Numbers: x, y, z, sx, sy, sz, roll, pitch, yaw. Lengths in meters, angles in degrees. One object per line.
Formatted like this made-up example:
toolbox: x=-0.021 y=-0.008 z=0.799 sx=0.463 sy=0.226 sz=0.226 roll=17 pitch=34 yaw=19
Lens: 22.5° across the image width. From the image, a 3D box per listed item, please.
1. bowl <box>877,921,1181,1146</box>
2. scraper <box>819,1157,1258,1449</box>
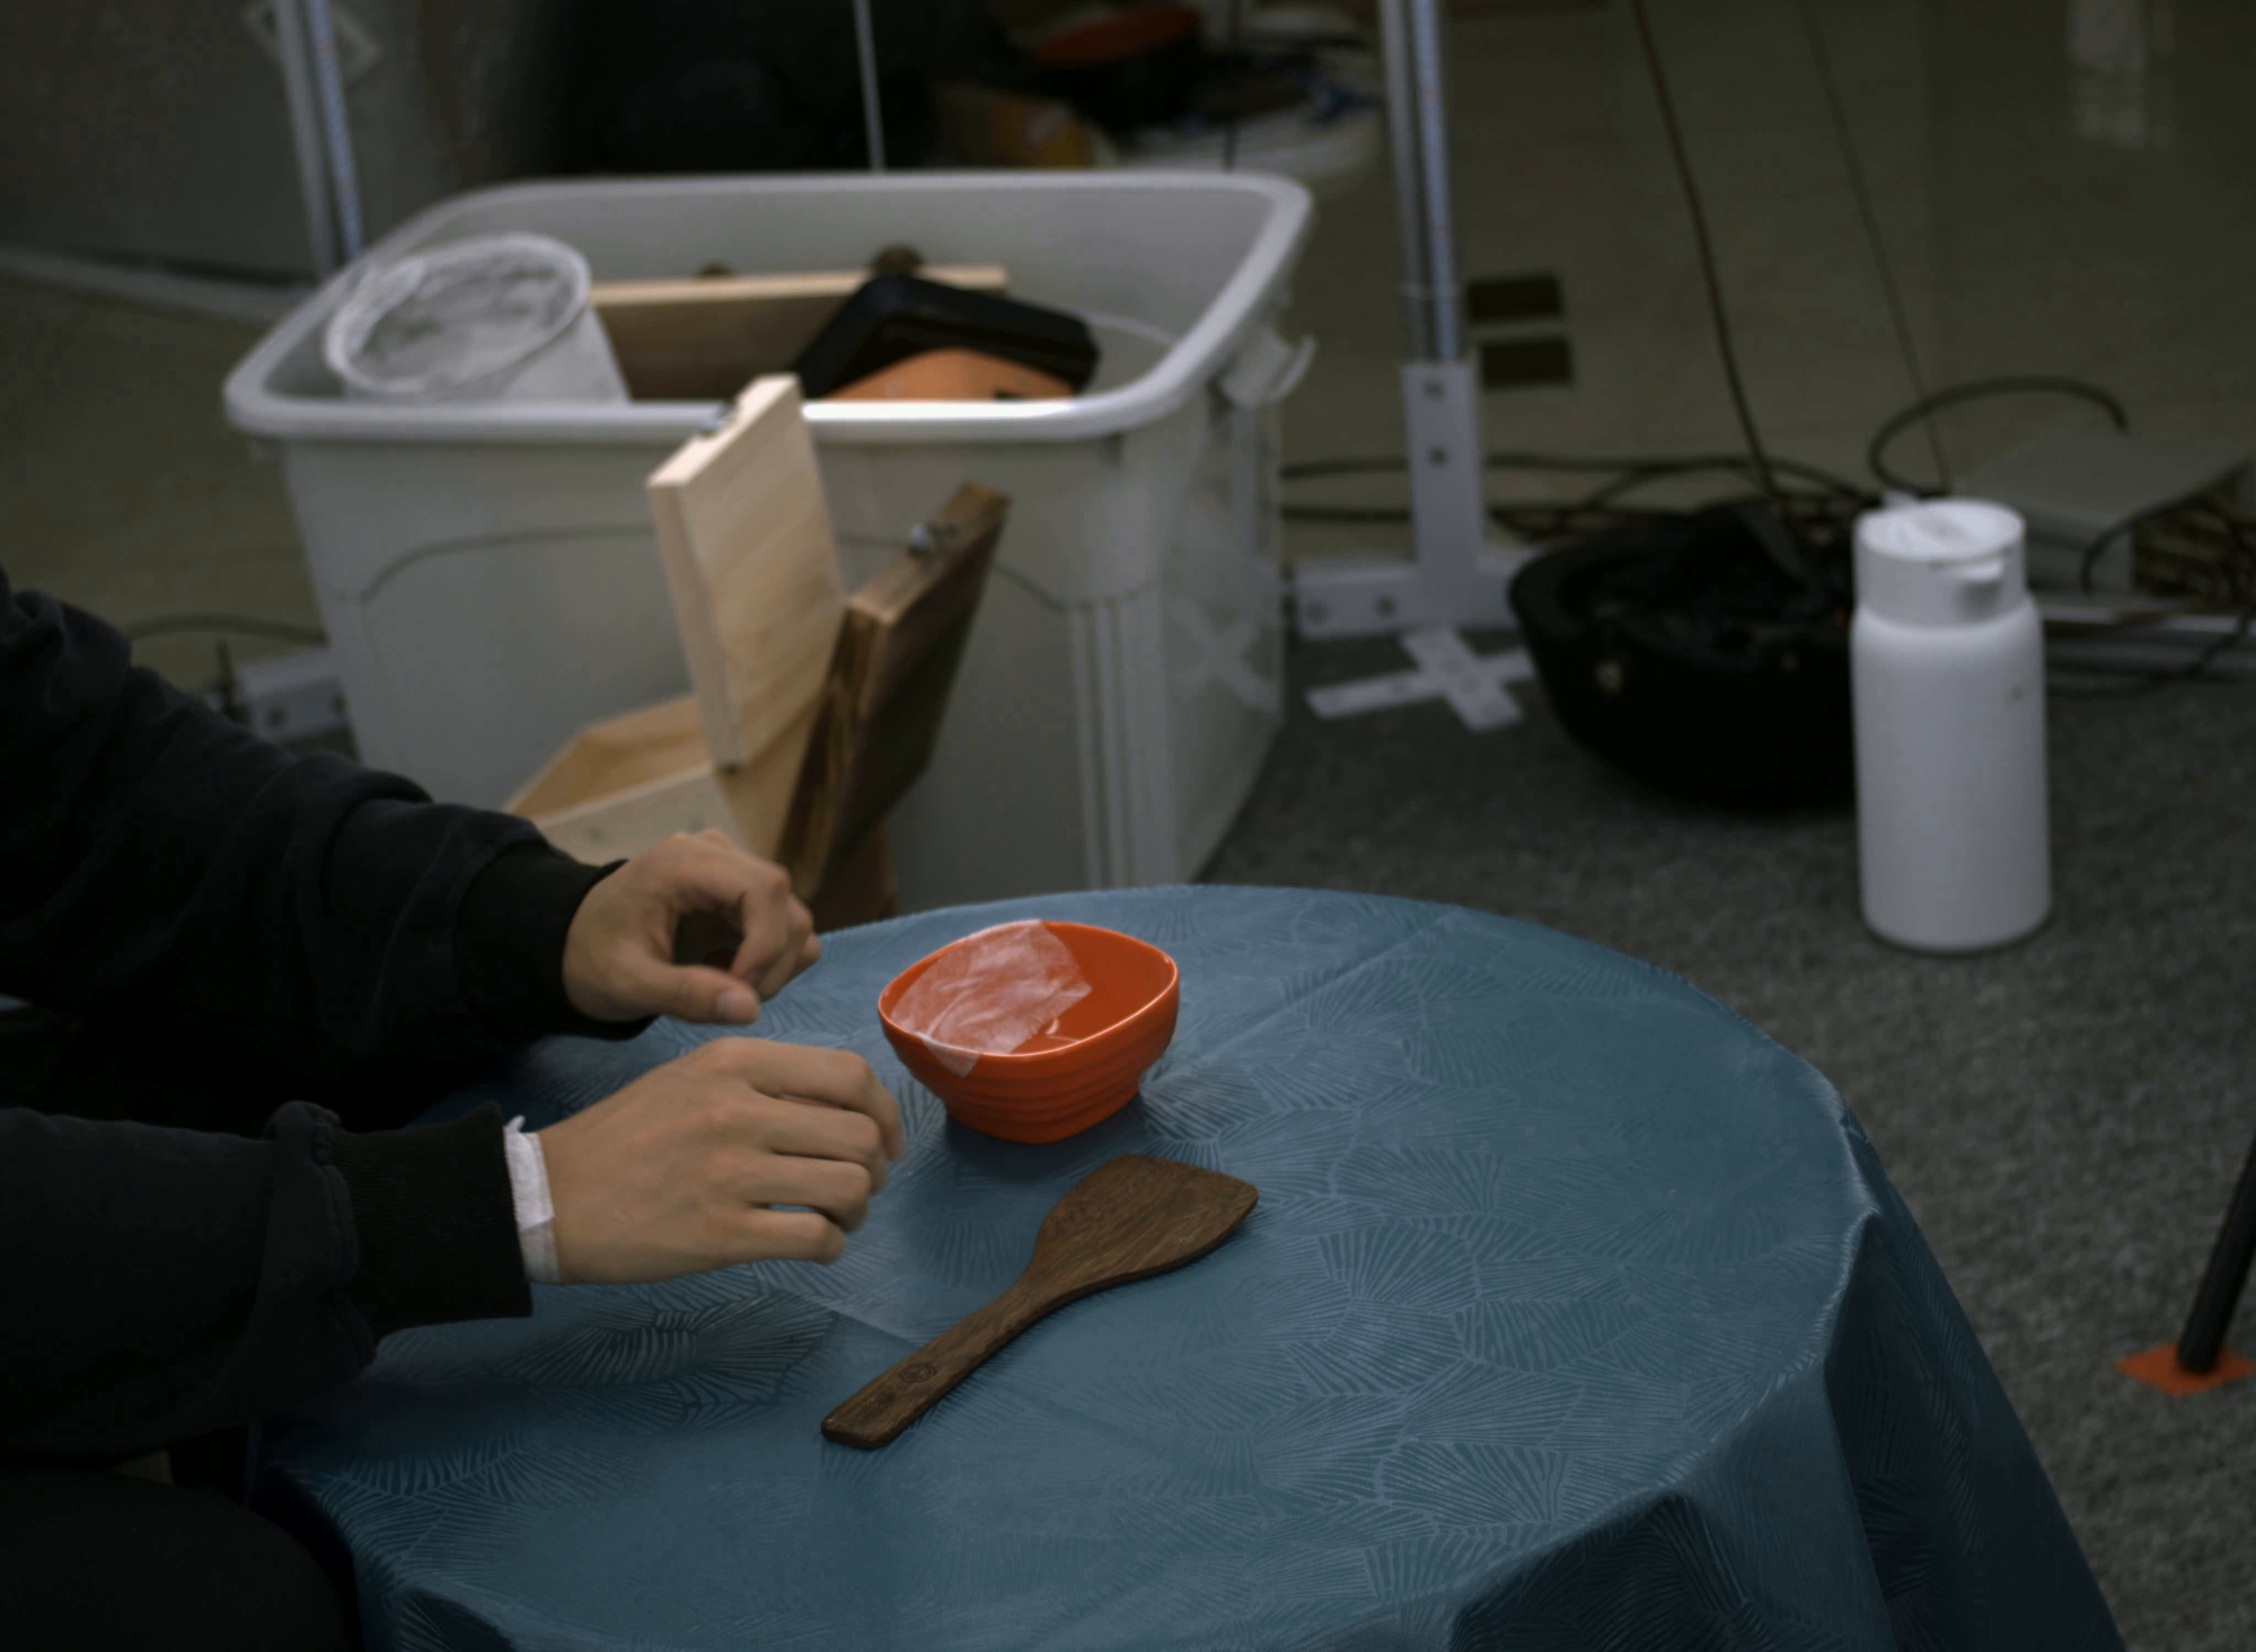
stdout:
bowl: x=-0.037 y=0.085 z=2.217 sx=0.119 sy=0.052 sz=0.117 roll=-3 pitch=26 yaw=2
scraper: x=-0.038 y=0.175 z=2.075 sx=0.075 sy=0.011 sz=0.209 roll=13 pitch=32 yaw=37
